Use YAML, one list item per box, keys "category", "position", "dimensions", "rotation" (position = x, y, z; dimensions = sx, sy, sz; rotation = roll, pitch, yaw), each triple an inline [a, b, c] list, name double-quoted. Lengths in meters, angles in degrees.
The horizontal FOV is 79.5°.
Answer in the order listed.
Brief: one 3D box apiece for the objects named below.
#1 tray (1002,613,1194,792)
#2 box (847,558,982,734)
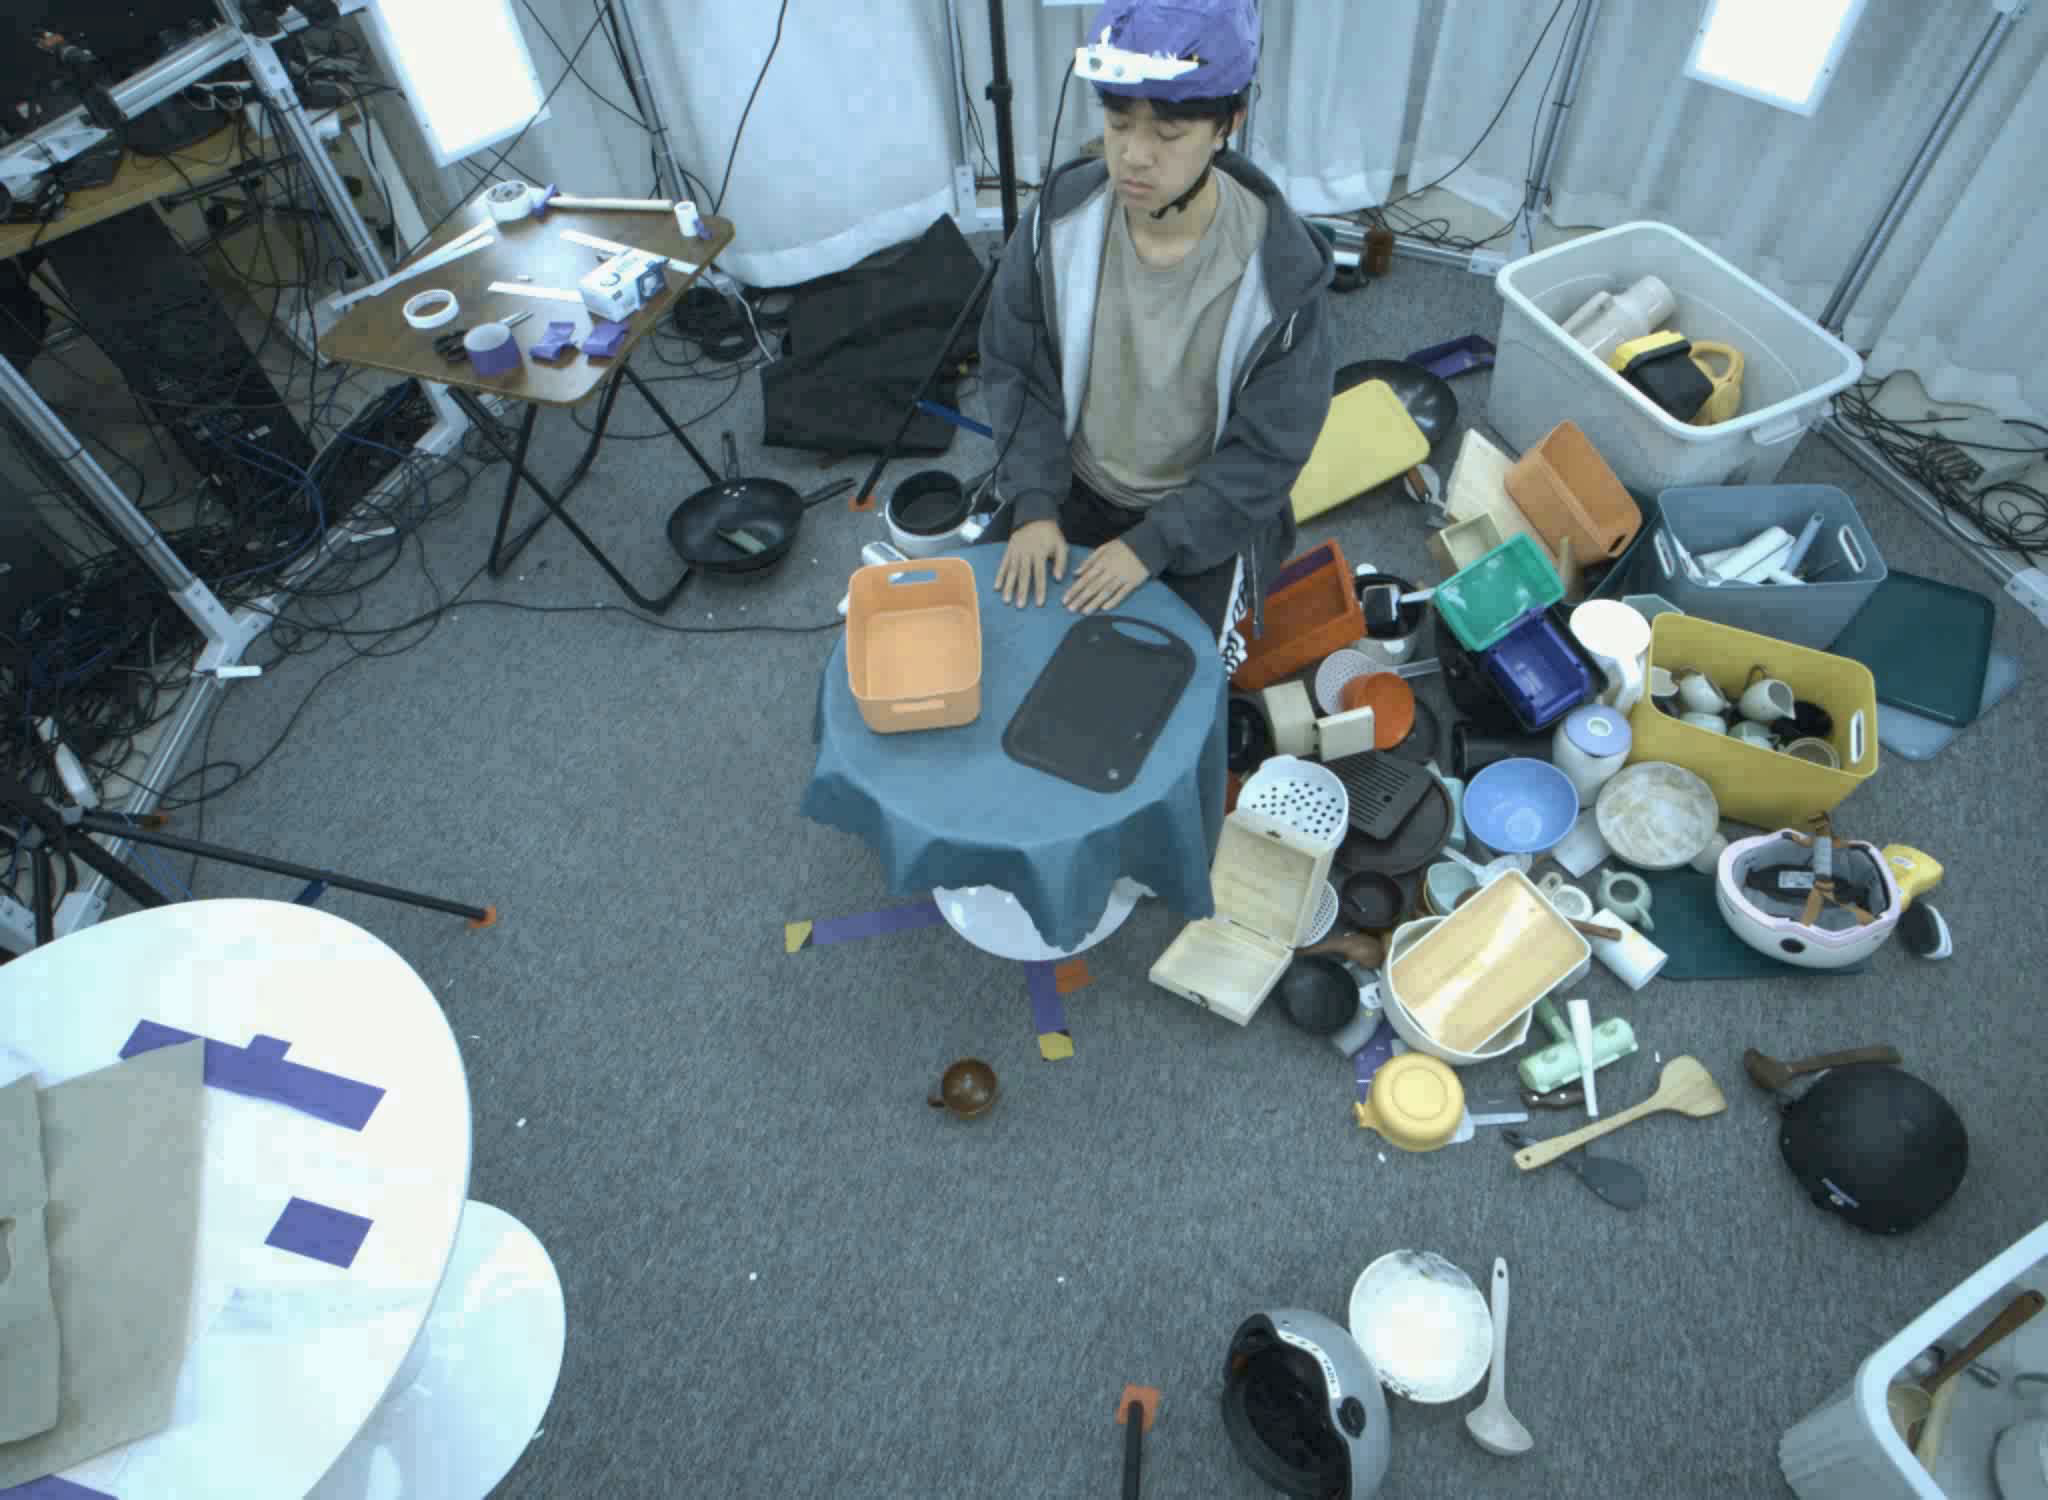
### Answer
- category: "tray"
  position: [0.117, -0.084, 1.842]
  dimensions: [0.208, 0.010, 0.326]
  rotation: [22, 58, 16]
- category: "box"
  position: [-0.160, -0.154, 1.840]
  dimensions: [0.200, 0.104, 0.269]
  rotation: [-6, 55, -2]
